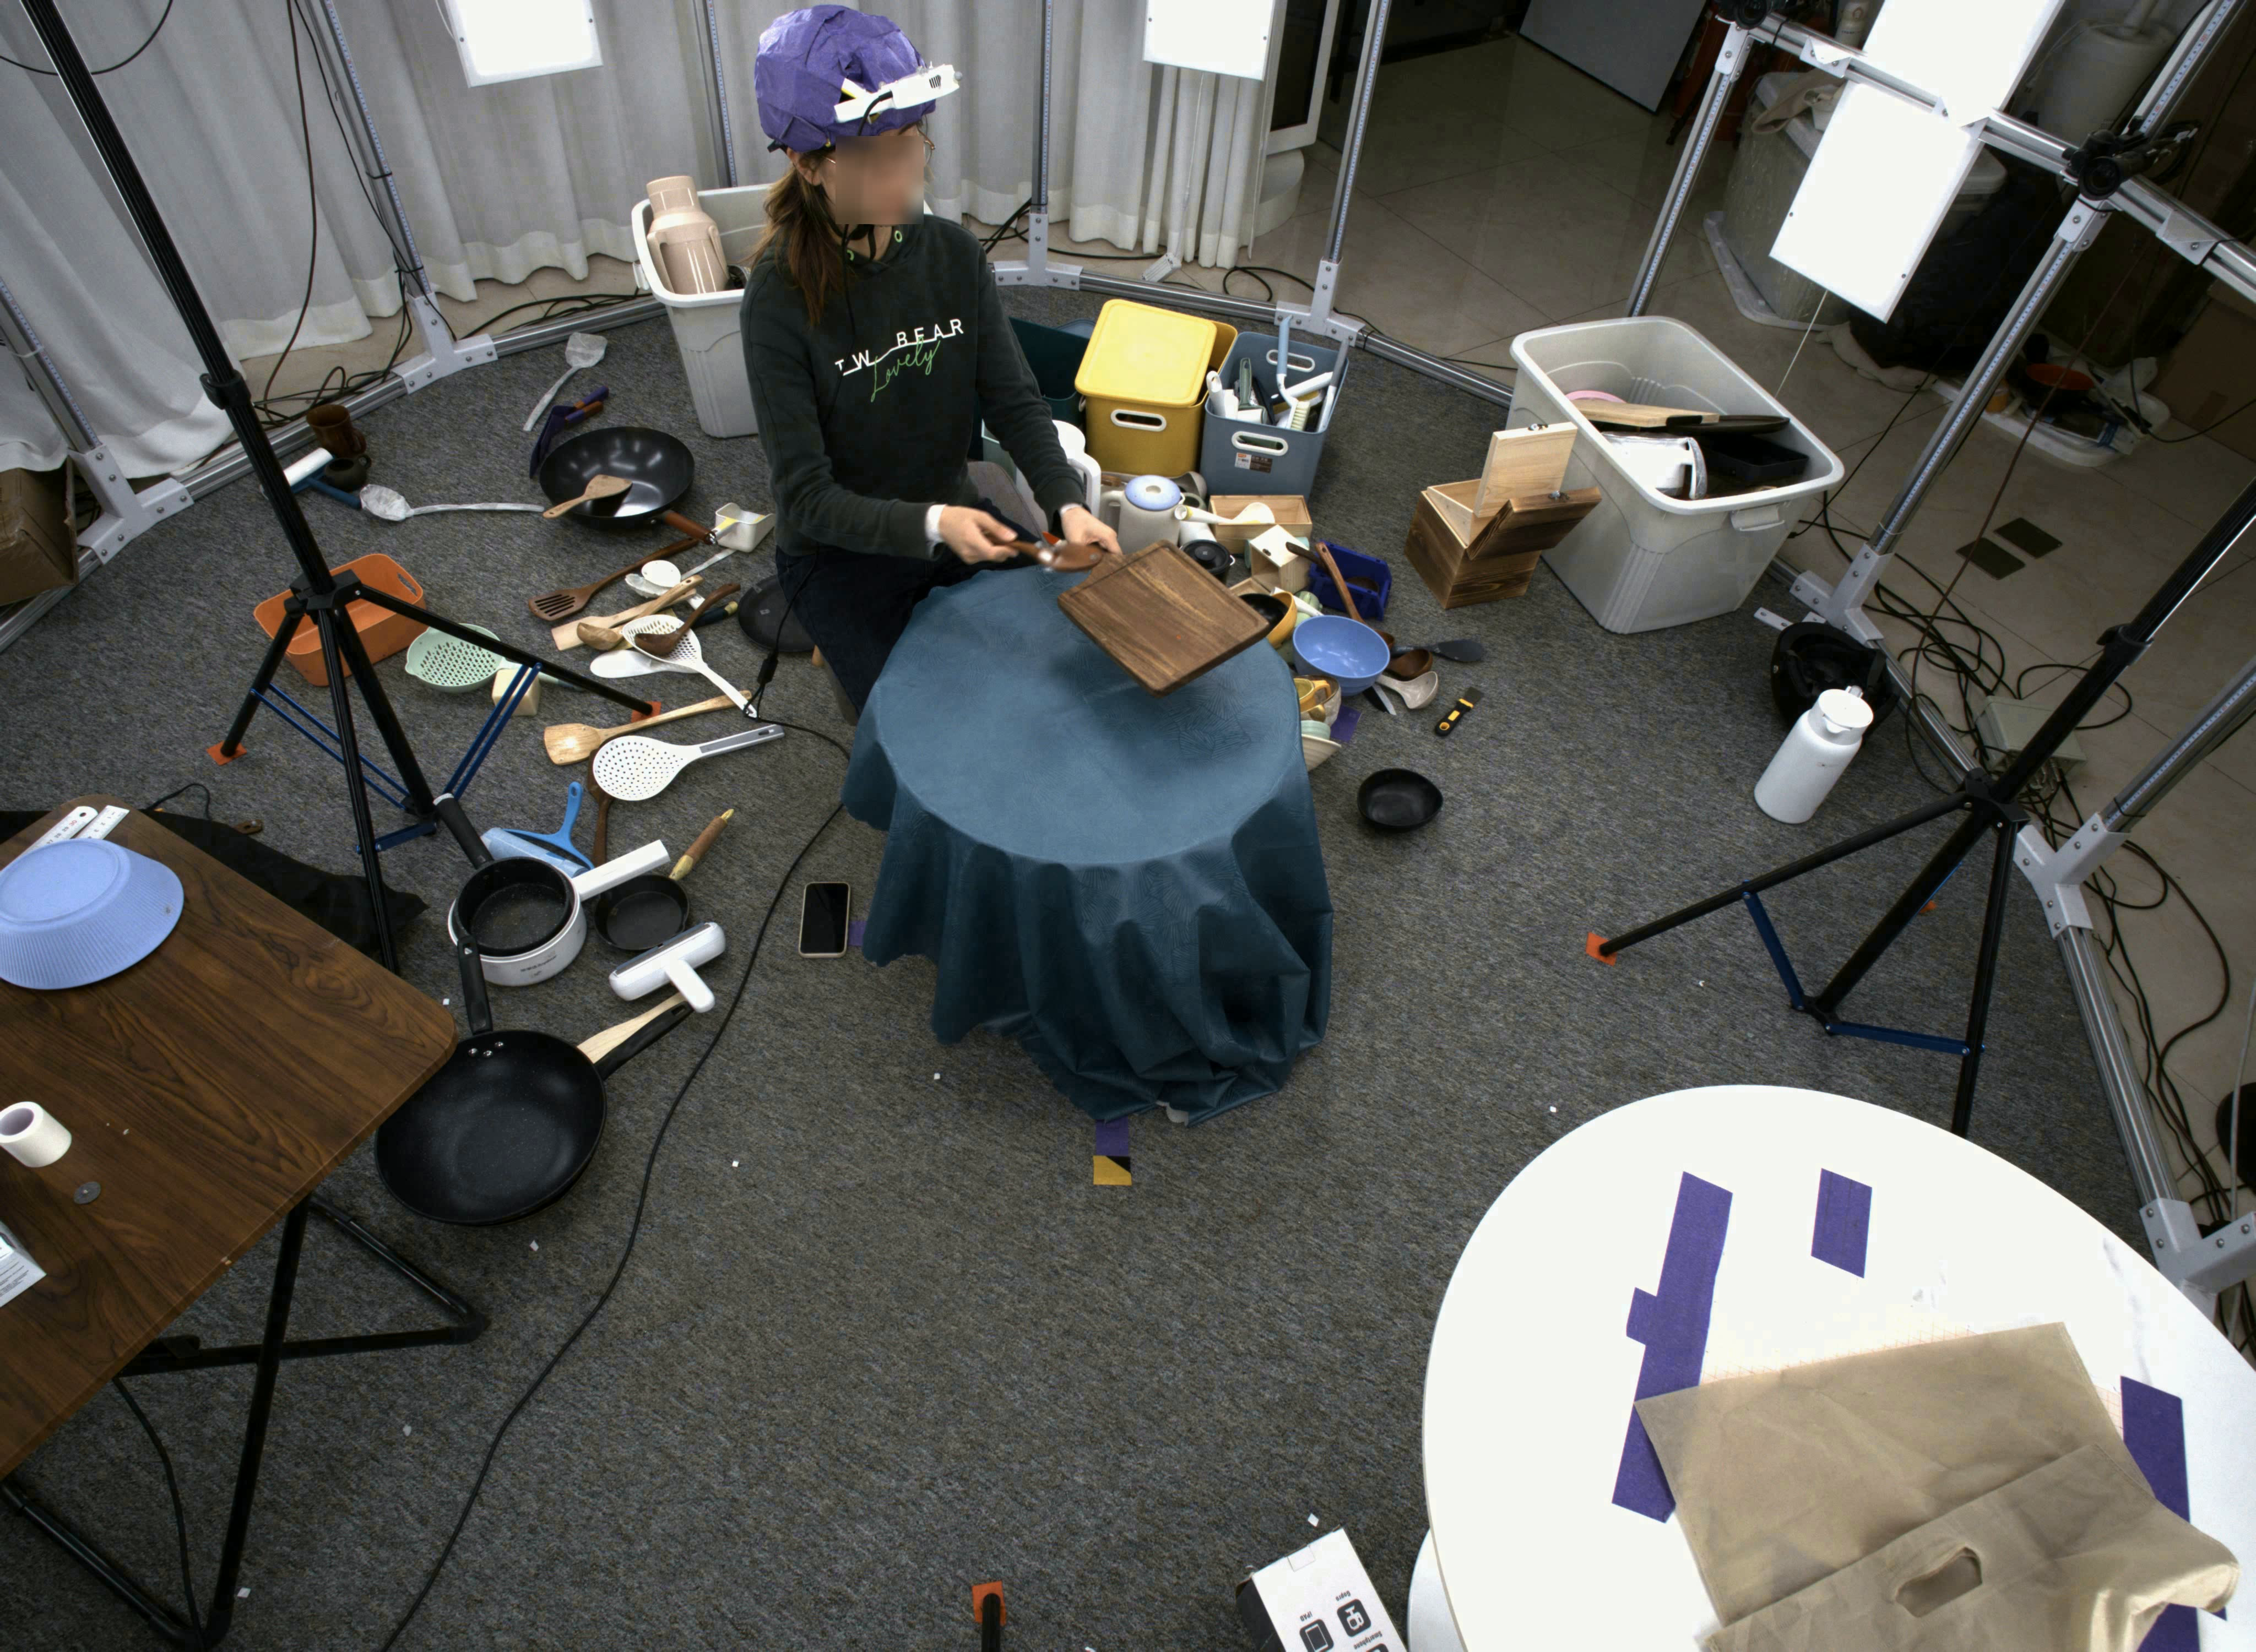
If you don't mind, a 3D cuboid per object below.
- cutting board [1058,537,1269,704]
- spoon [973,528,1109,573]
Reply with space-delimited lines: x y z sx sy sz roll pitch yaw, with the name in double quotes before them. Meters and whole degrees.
"cutting board" 0.019 -0.321 1.836 0.202 0.022 0.359 -32 52 -15
"spoon" -0.121 -0.376 1.751 0.218 0.017 0.076 19 46 28
